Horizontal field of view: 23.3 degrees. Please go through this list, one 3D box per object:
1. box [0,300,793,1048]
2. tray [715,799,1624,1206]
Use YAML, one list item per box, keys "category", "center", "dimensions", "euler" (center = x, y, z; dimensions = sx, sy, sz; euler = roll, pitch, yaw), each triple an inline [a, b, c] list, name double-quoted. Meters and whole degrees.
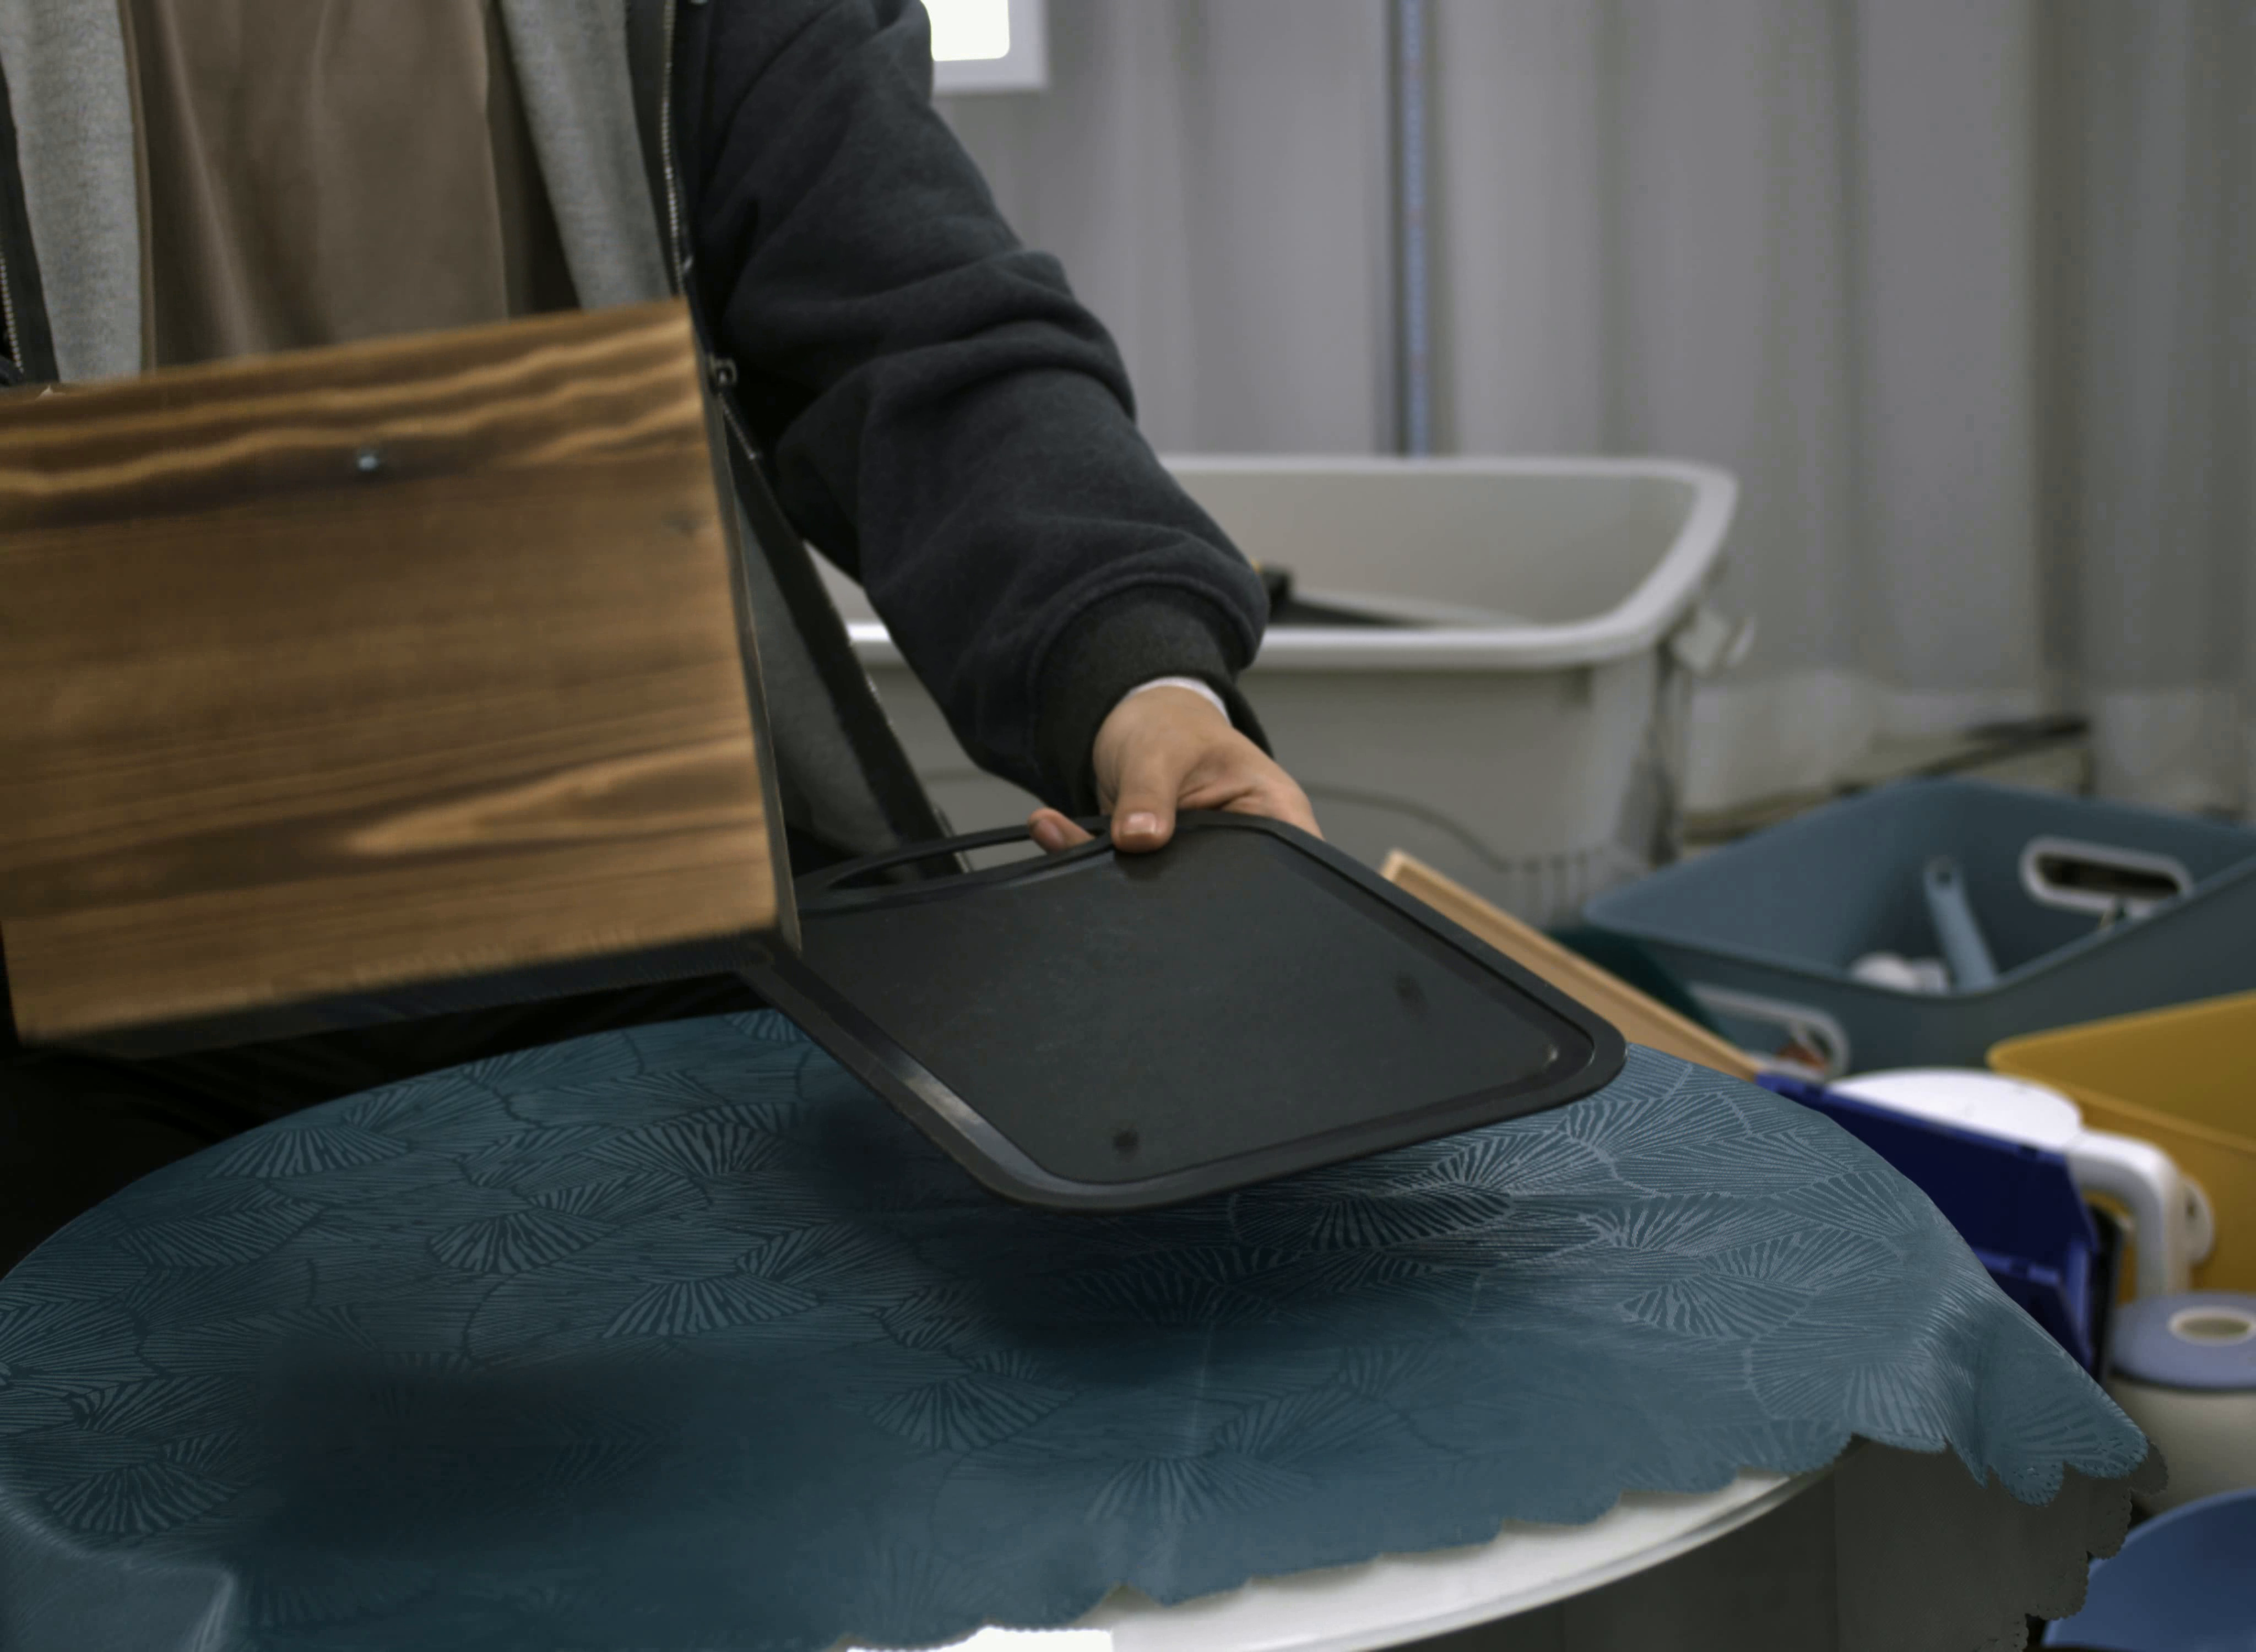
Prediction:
- category: "box"
  center: [-0.269, -0.125, 1.534]
  dimensions: [0.321, 0.377, 0.208]
  euler: [-9, -5, -3]
- category: "tray"
  center: [0.001, 0.047, 1.722]
  dimensions: [0.210, 0.010, 0.328]
  euler: [-13, 22, -22]
